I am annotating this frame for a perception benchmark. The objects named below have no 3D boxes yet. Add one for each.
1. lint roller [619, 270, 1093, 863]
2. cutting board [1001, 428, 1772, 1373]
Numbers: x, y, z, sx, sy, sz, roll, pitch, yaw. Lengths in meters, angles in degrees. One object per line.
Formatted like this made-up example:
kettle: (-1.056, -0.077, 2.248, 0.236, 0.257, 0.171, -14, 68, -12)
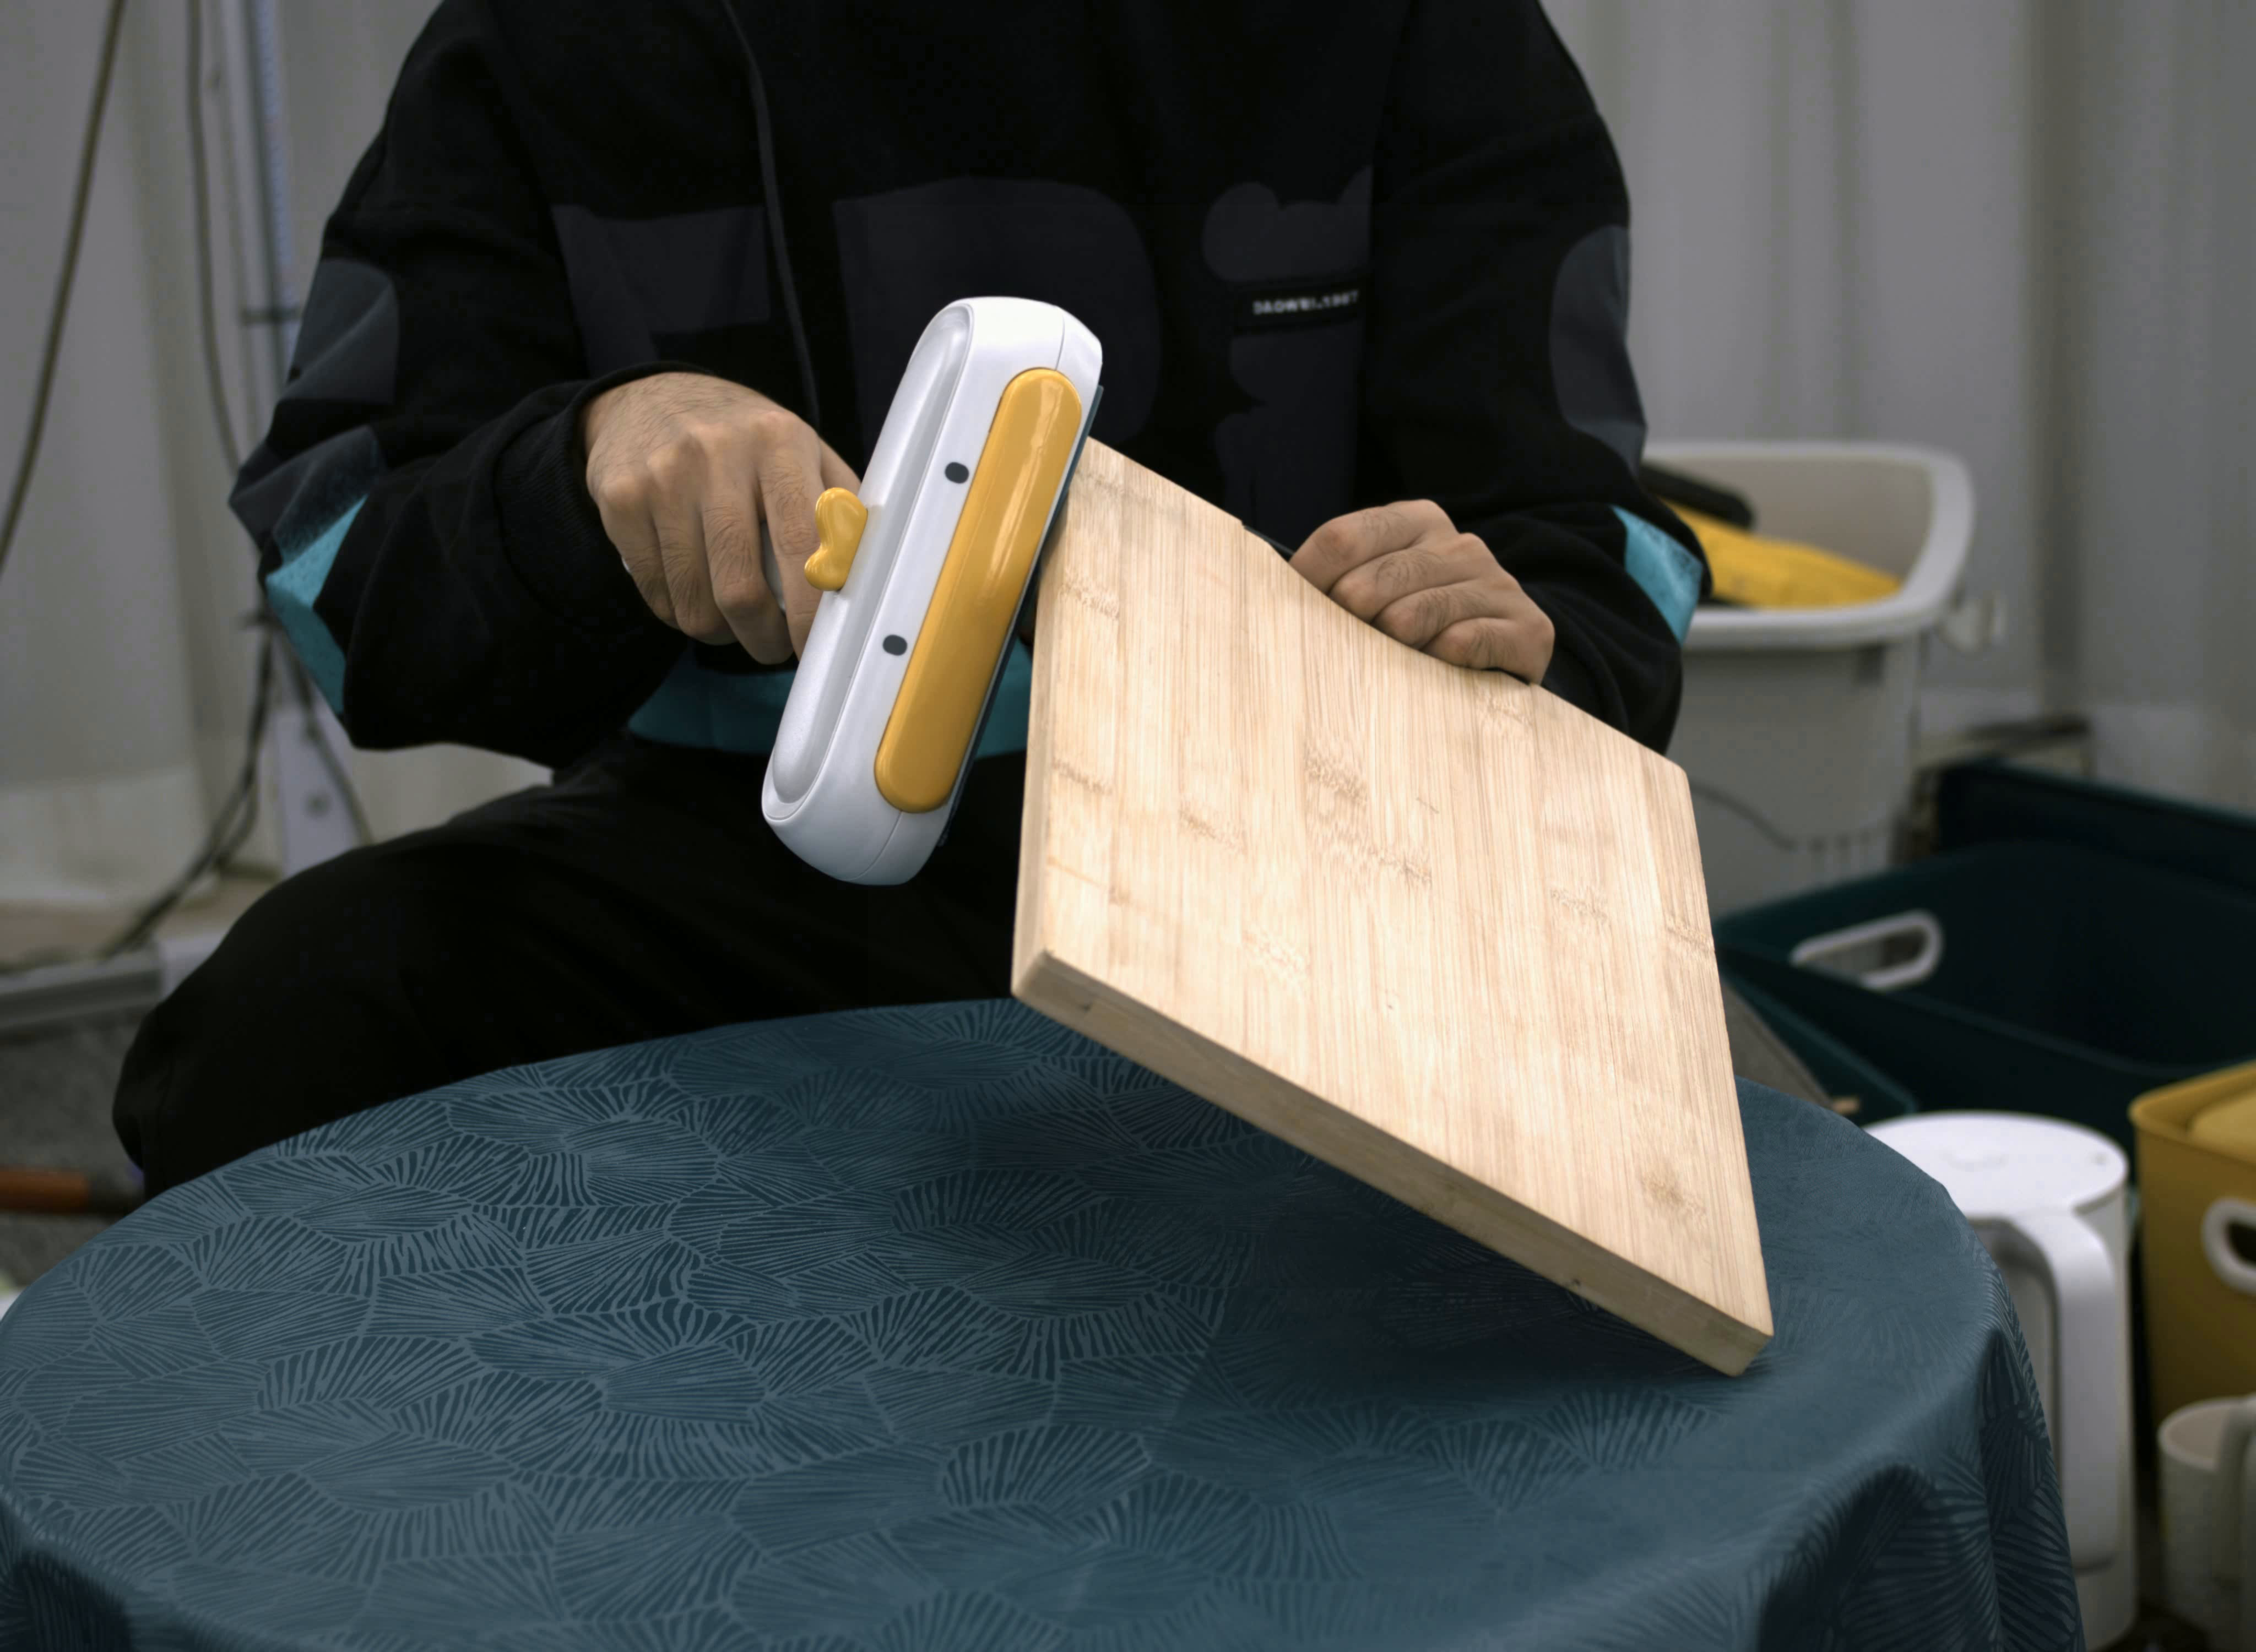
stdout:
lint roller: (-0.097, -0.085, 1.772, 0.073, 0.194, 0.193, 18, -10, -30)
cutting board: (0.077, 0.012, 1.657, 0.249, 0.023, 0.353, 28, 25, -14)
